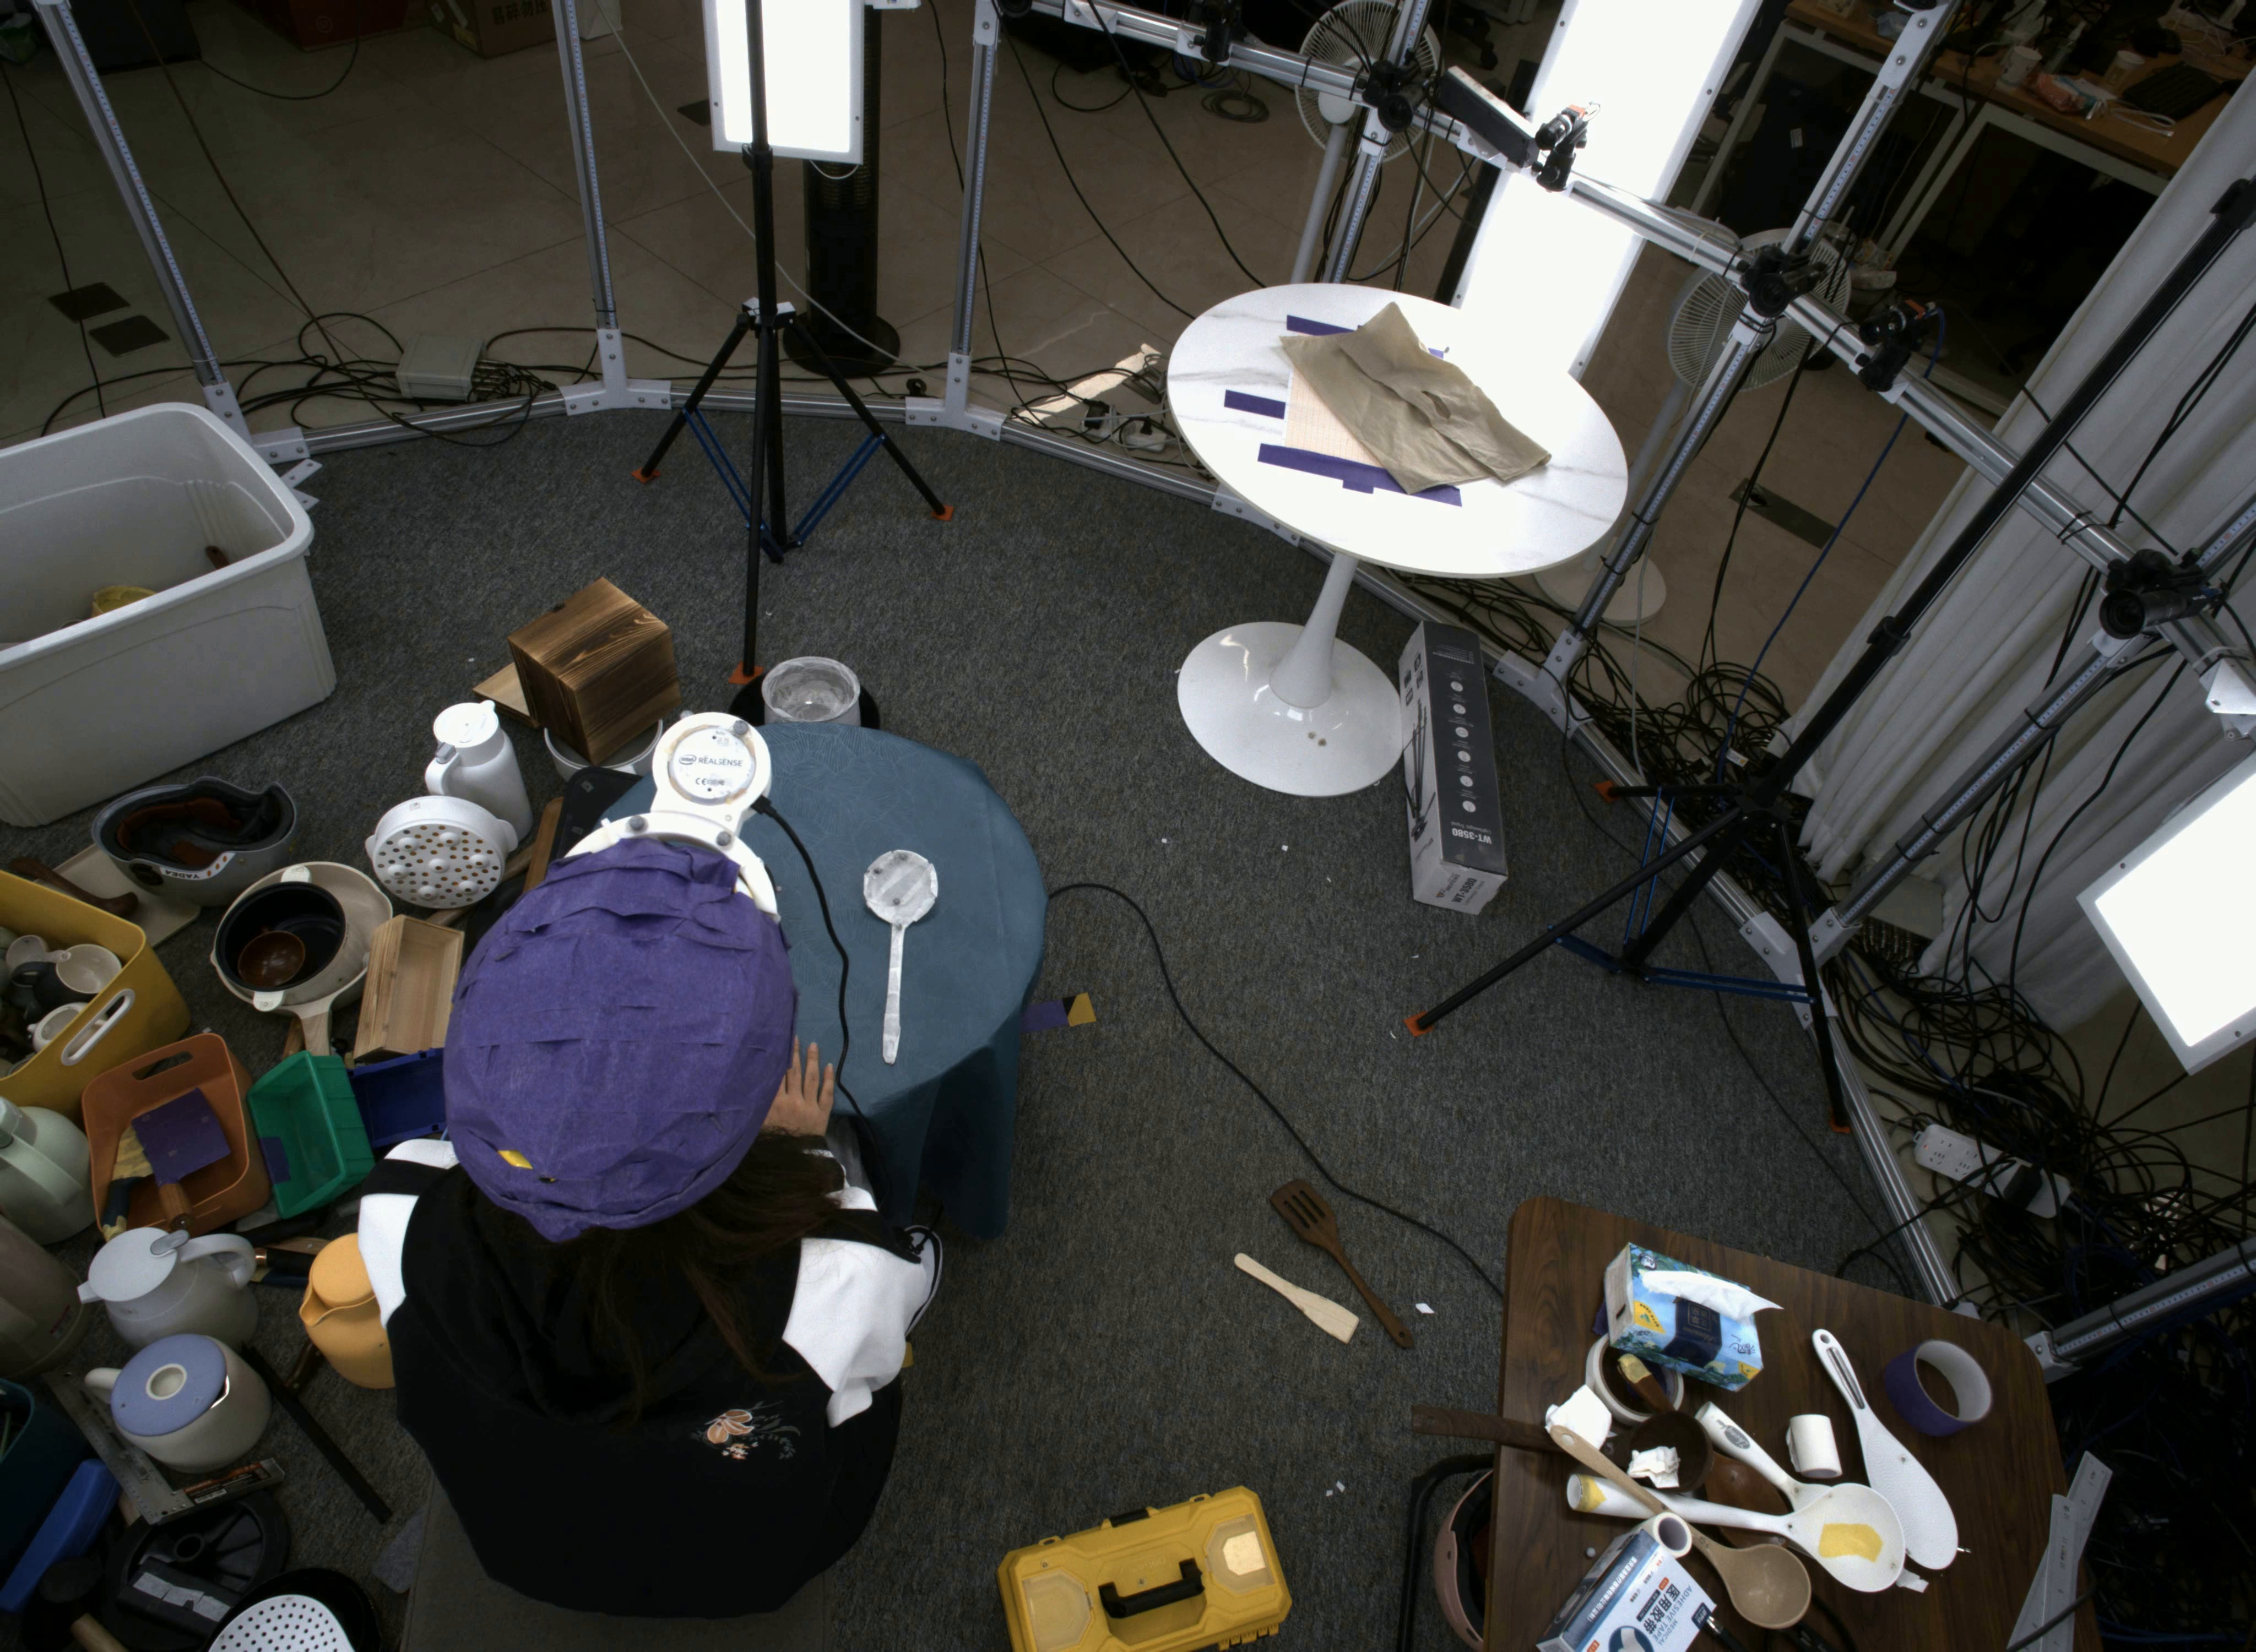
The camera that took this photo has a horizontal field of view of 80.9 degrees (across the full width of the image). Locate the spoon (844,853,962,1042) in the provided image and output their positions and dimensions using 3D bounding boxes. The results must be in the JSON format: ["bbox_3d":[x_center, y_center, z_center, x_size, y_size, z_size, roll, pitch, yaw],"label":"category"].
[{"bbox_3d":[-0.279,0.161,1.709,0.100,0.288,0.057,-26,31,-6],"label":"spoon"}]

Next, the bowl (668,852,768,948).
[{"bbox_3d":[-0.500,0.096,1.580,0.118,0.071,0.116,7,52,-8],"label":"bowl"}]
